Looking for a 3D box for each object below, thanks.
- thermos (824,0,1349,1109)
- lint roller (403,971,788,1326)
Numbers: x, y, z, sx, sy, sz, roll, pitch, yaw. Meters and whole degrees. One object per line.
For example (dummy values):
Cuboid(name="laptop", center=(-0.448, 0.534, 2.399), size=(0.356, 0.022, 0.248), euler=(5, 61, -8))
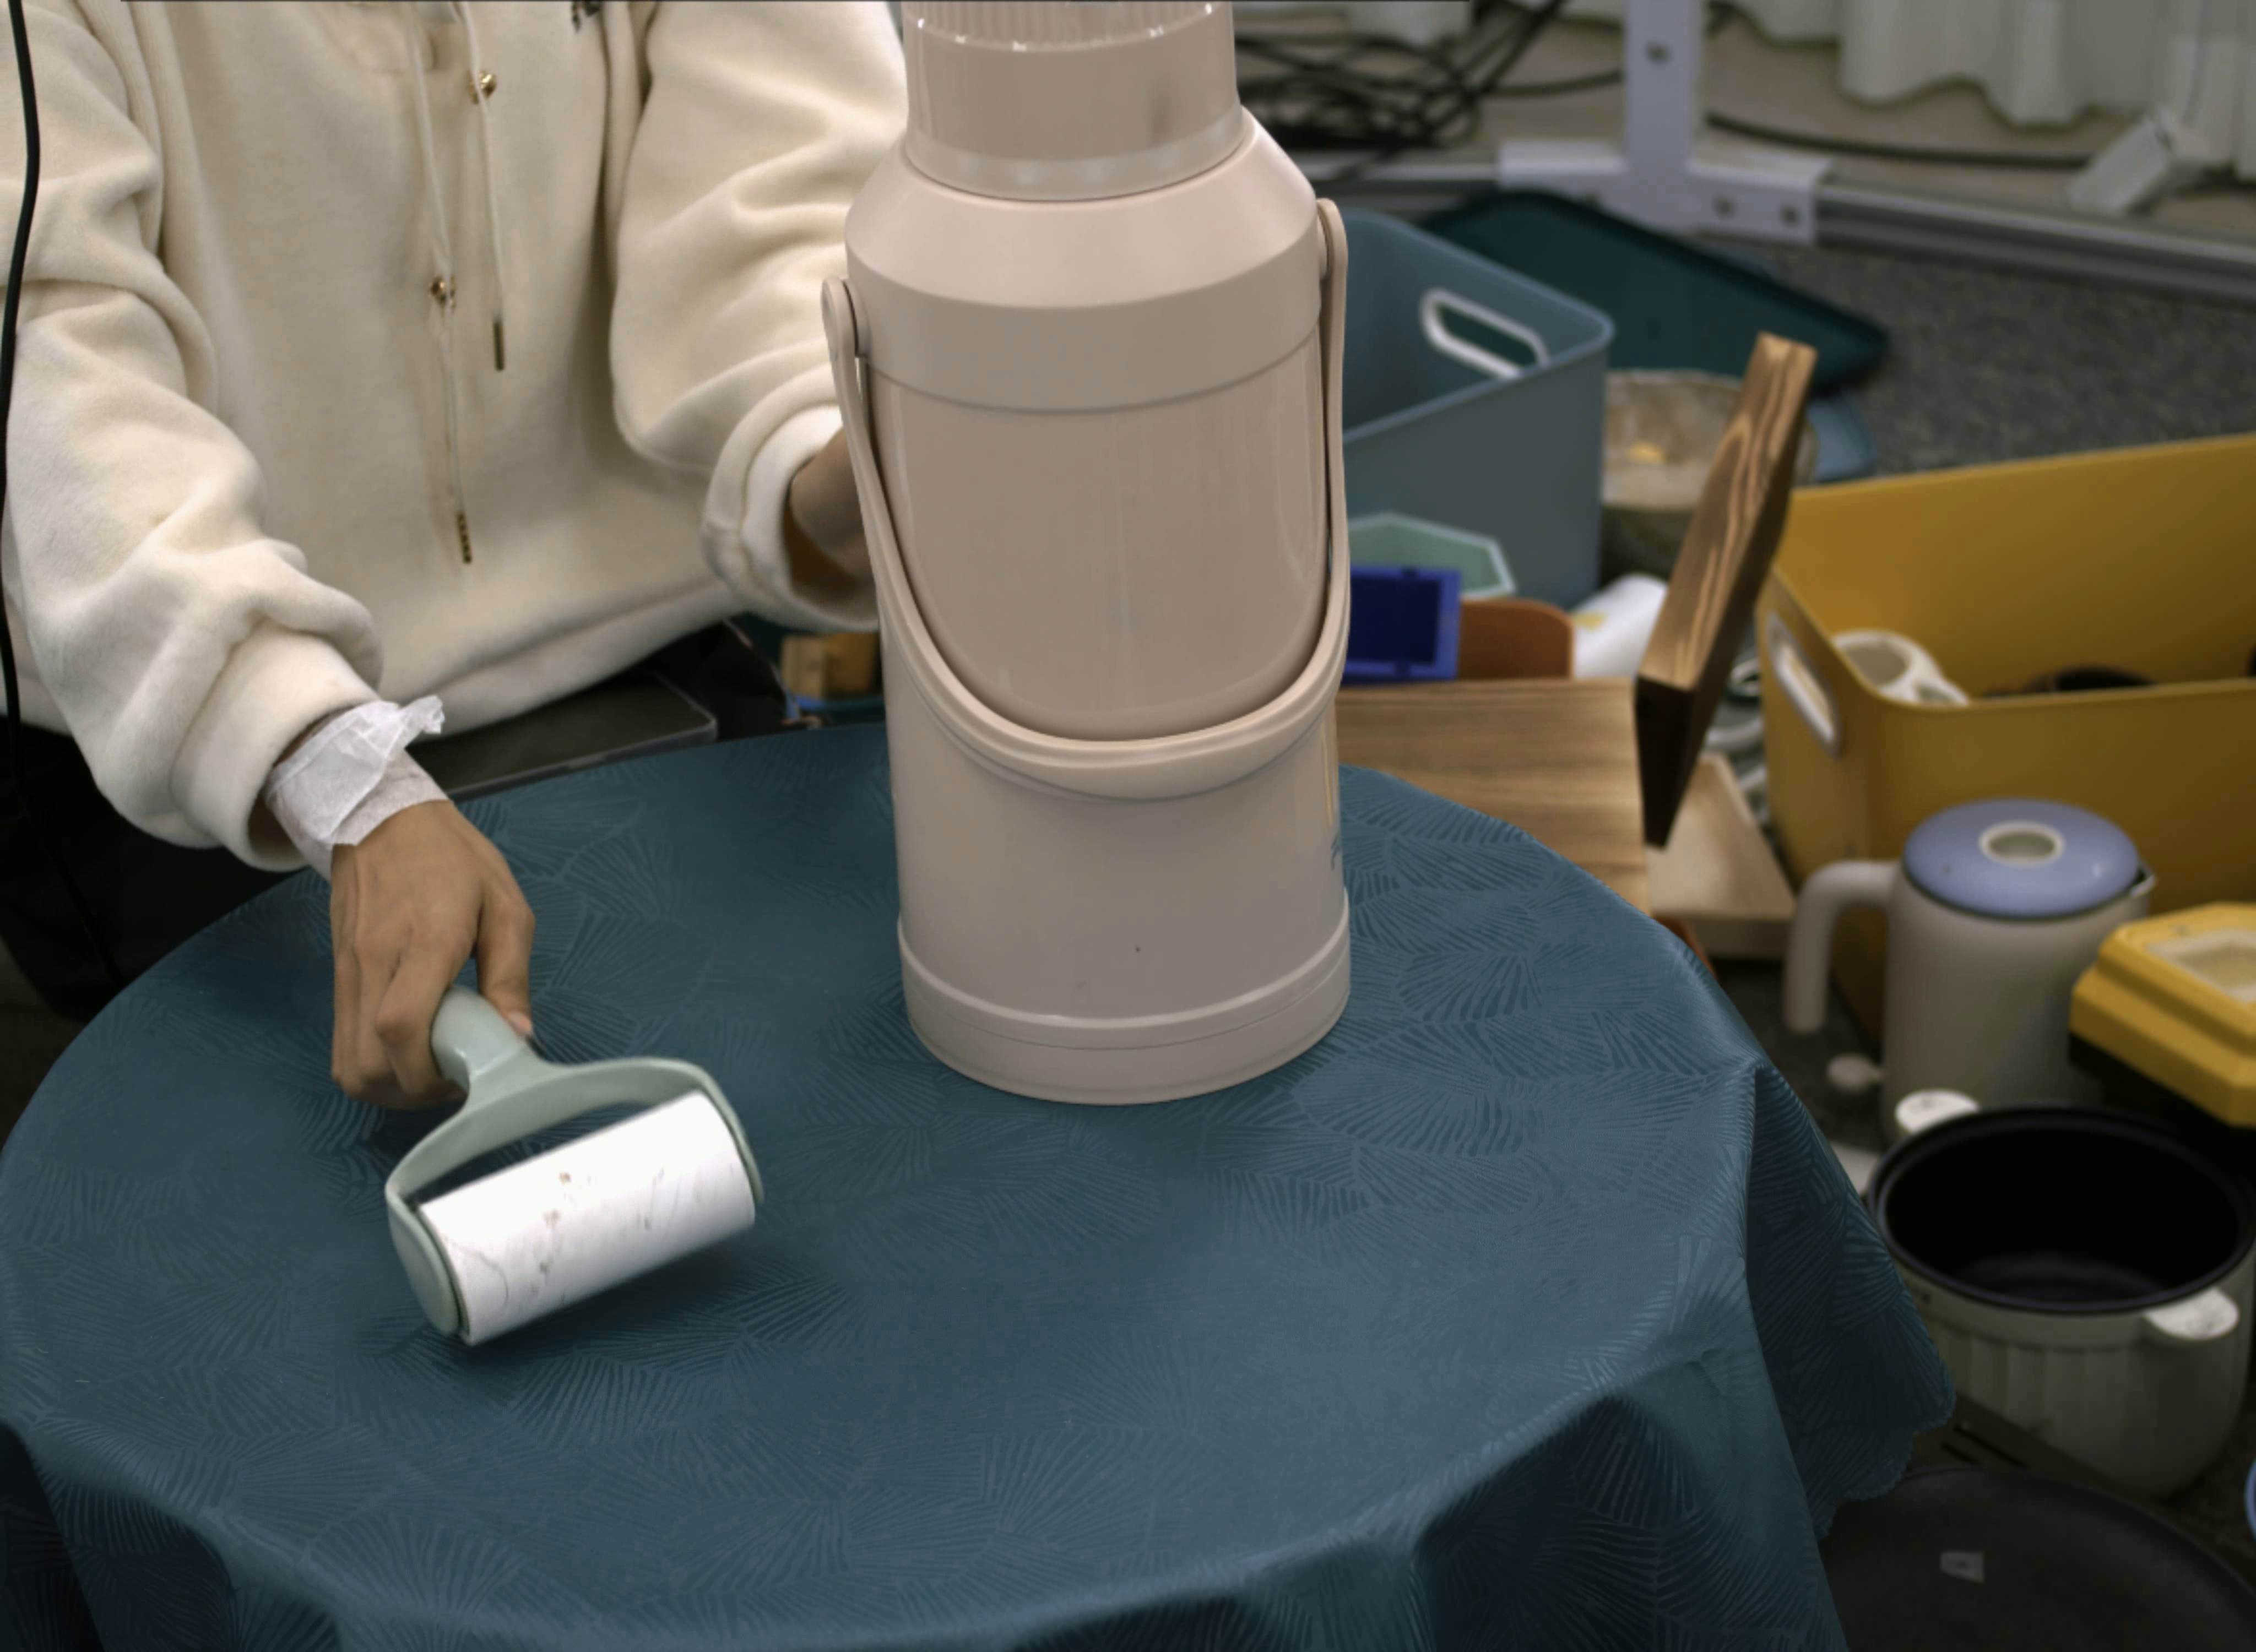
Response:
Cuboid(name="thermos", center=(-0.013, -0.122, 1.908), size=(0.175, 0.402, 0.209), euler=(-10, 27, -13))
Cuboid(name="lint roller", center=(-0.198, 0.086, 1.857), size=(0.117, 0.048, 0.199), euler=(-24, 36, -16))
